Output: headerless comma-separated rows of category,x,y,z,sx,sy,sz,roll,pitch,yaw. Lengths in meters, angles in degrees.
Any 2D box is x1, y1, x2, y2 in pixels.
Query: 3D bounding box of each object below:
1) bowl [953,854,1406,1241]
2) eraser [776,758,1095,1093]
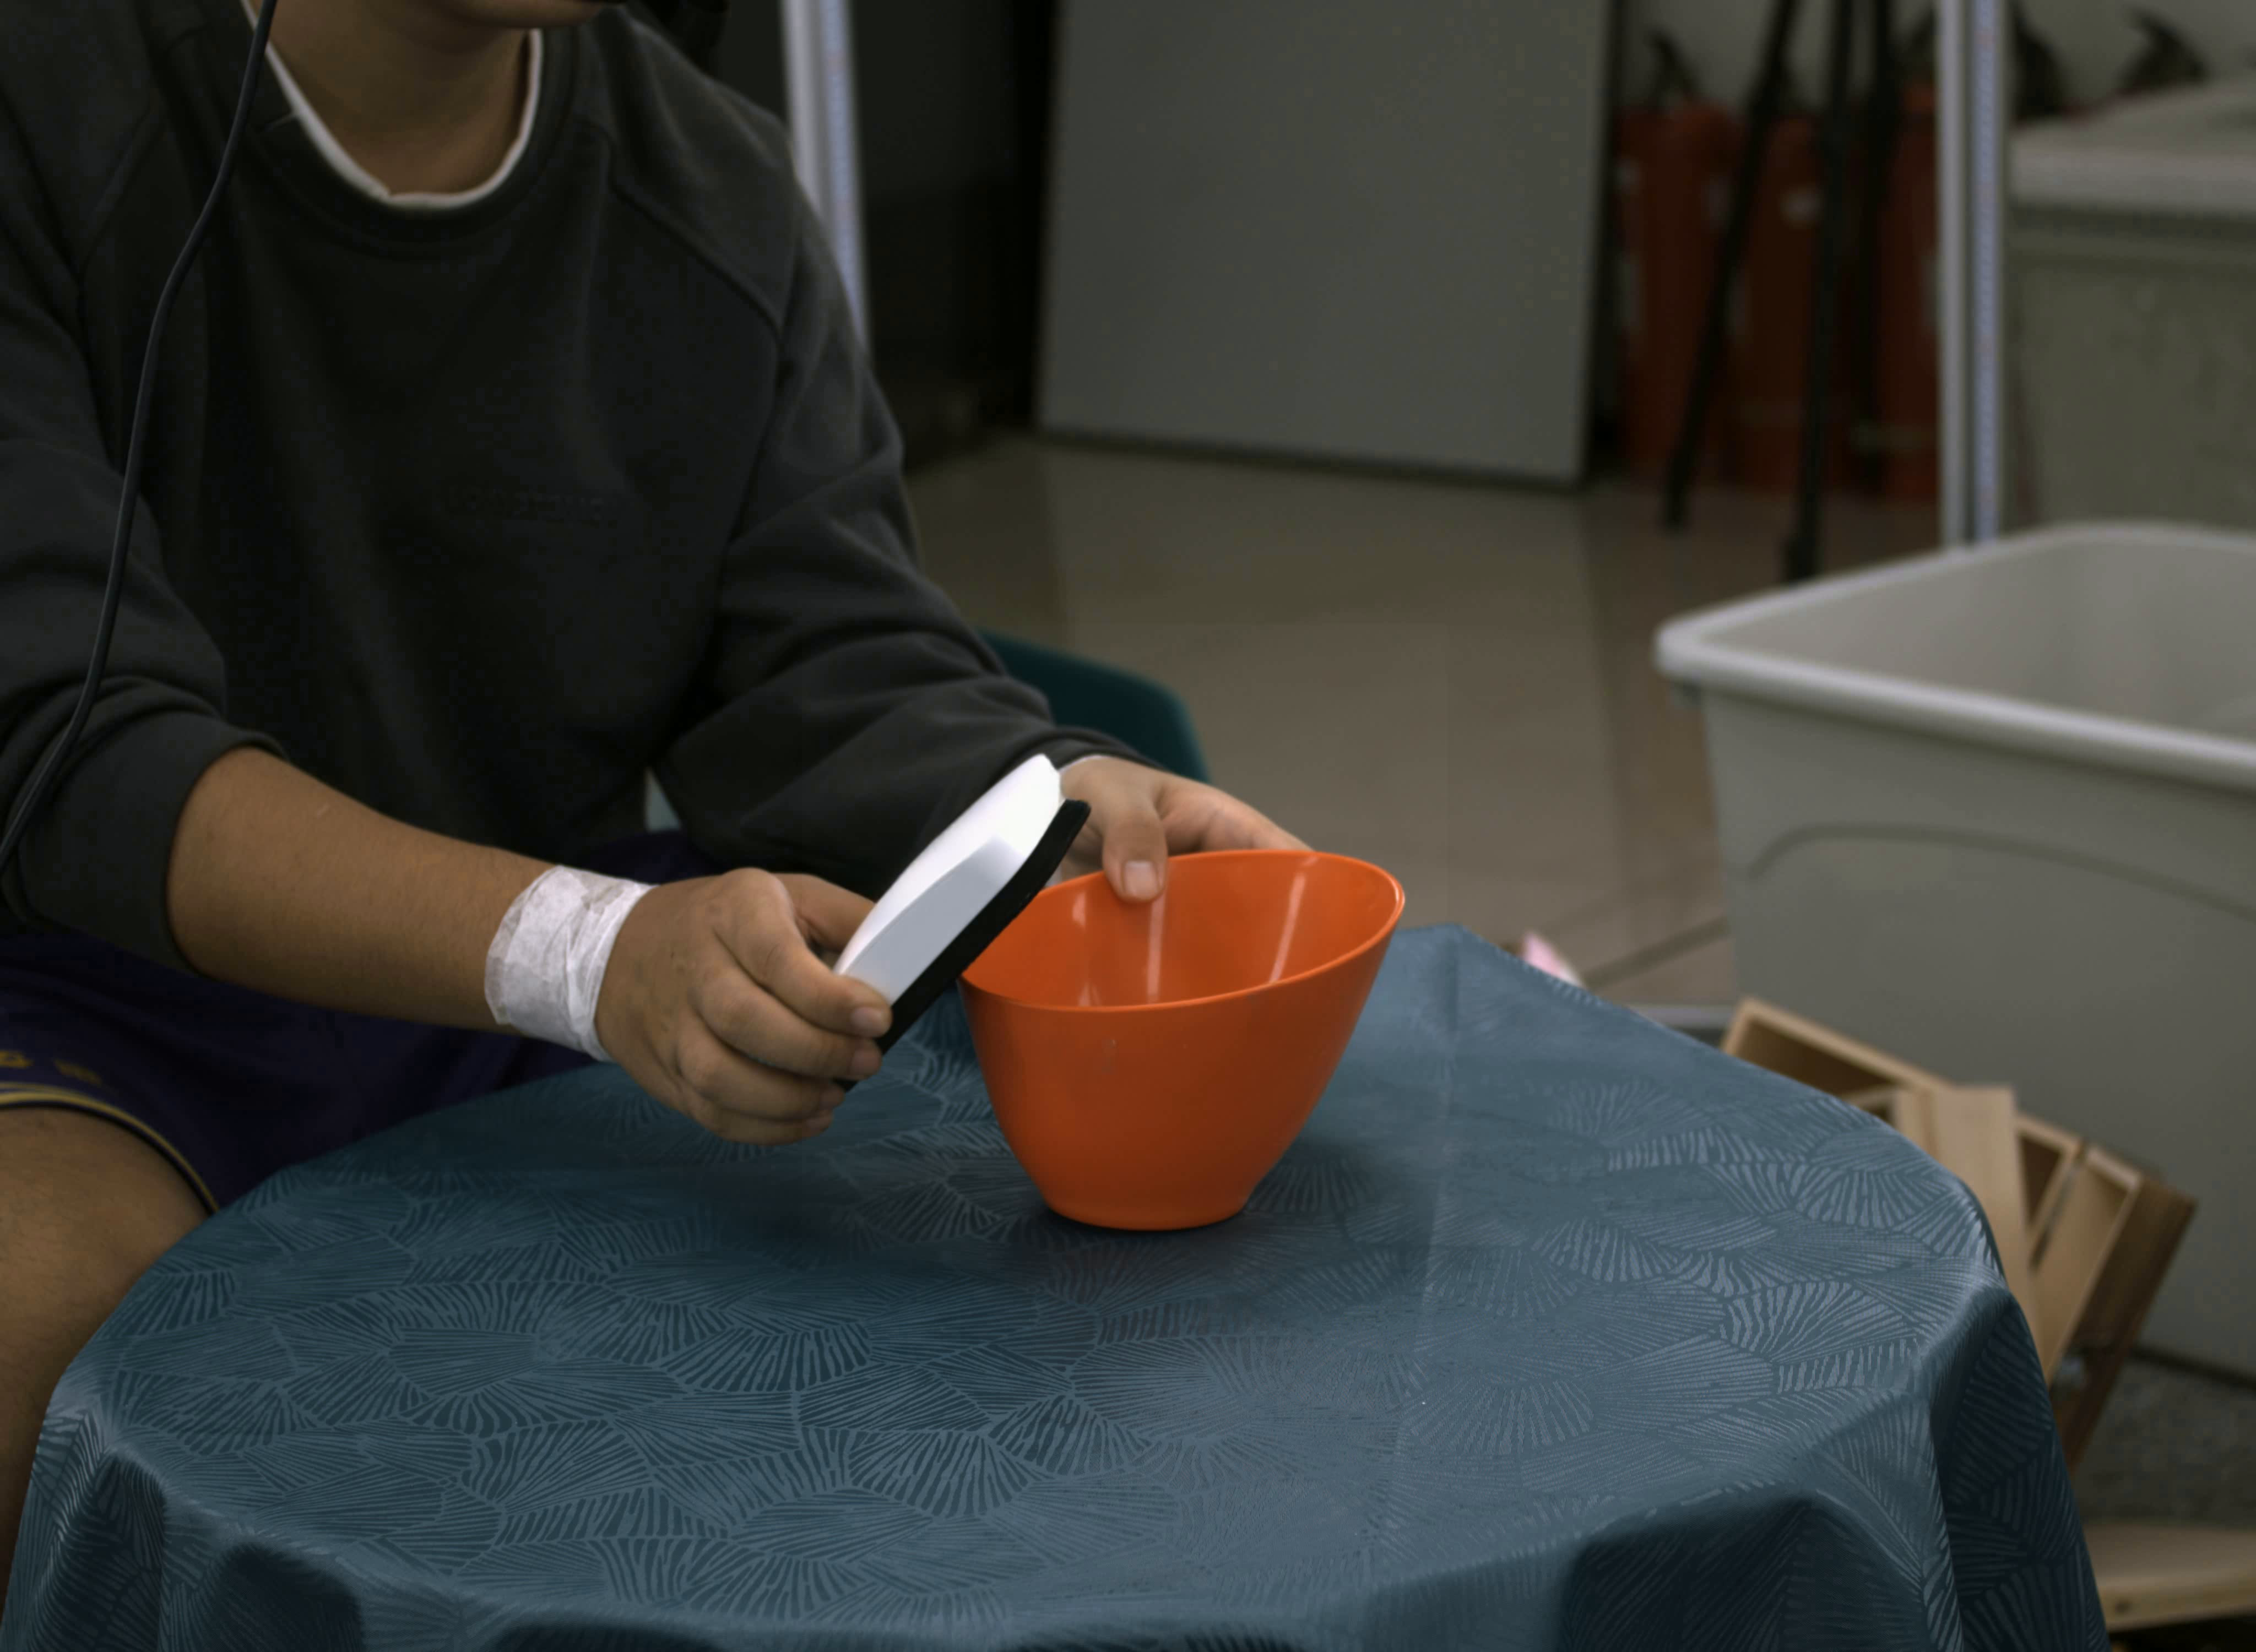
bowl,0.017,0.073,1.742,0.146,0.106,0.148,0,14,-1
eraser,-0.063,0.030,1.711,0.132,0.034,0.063,-45,7,38
